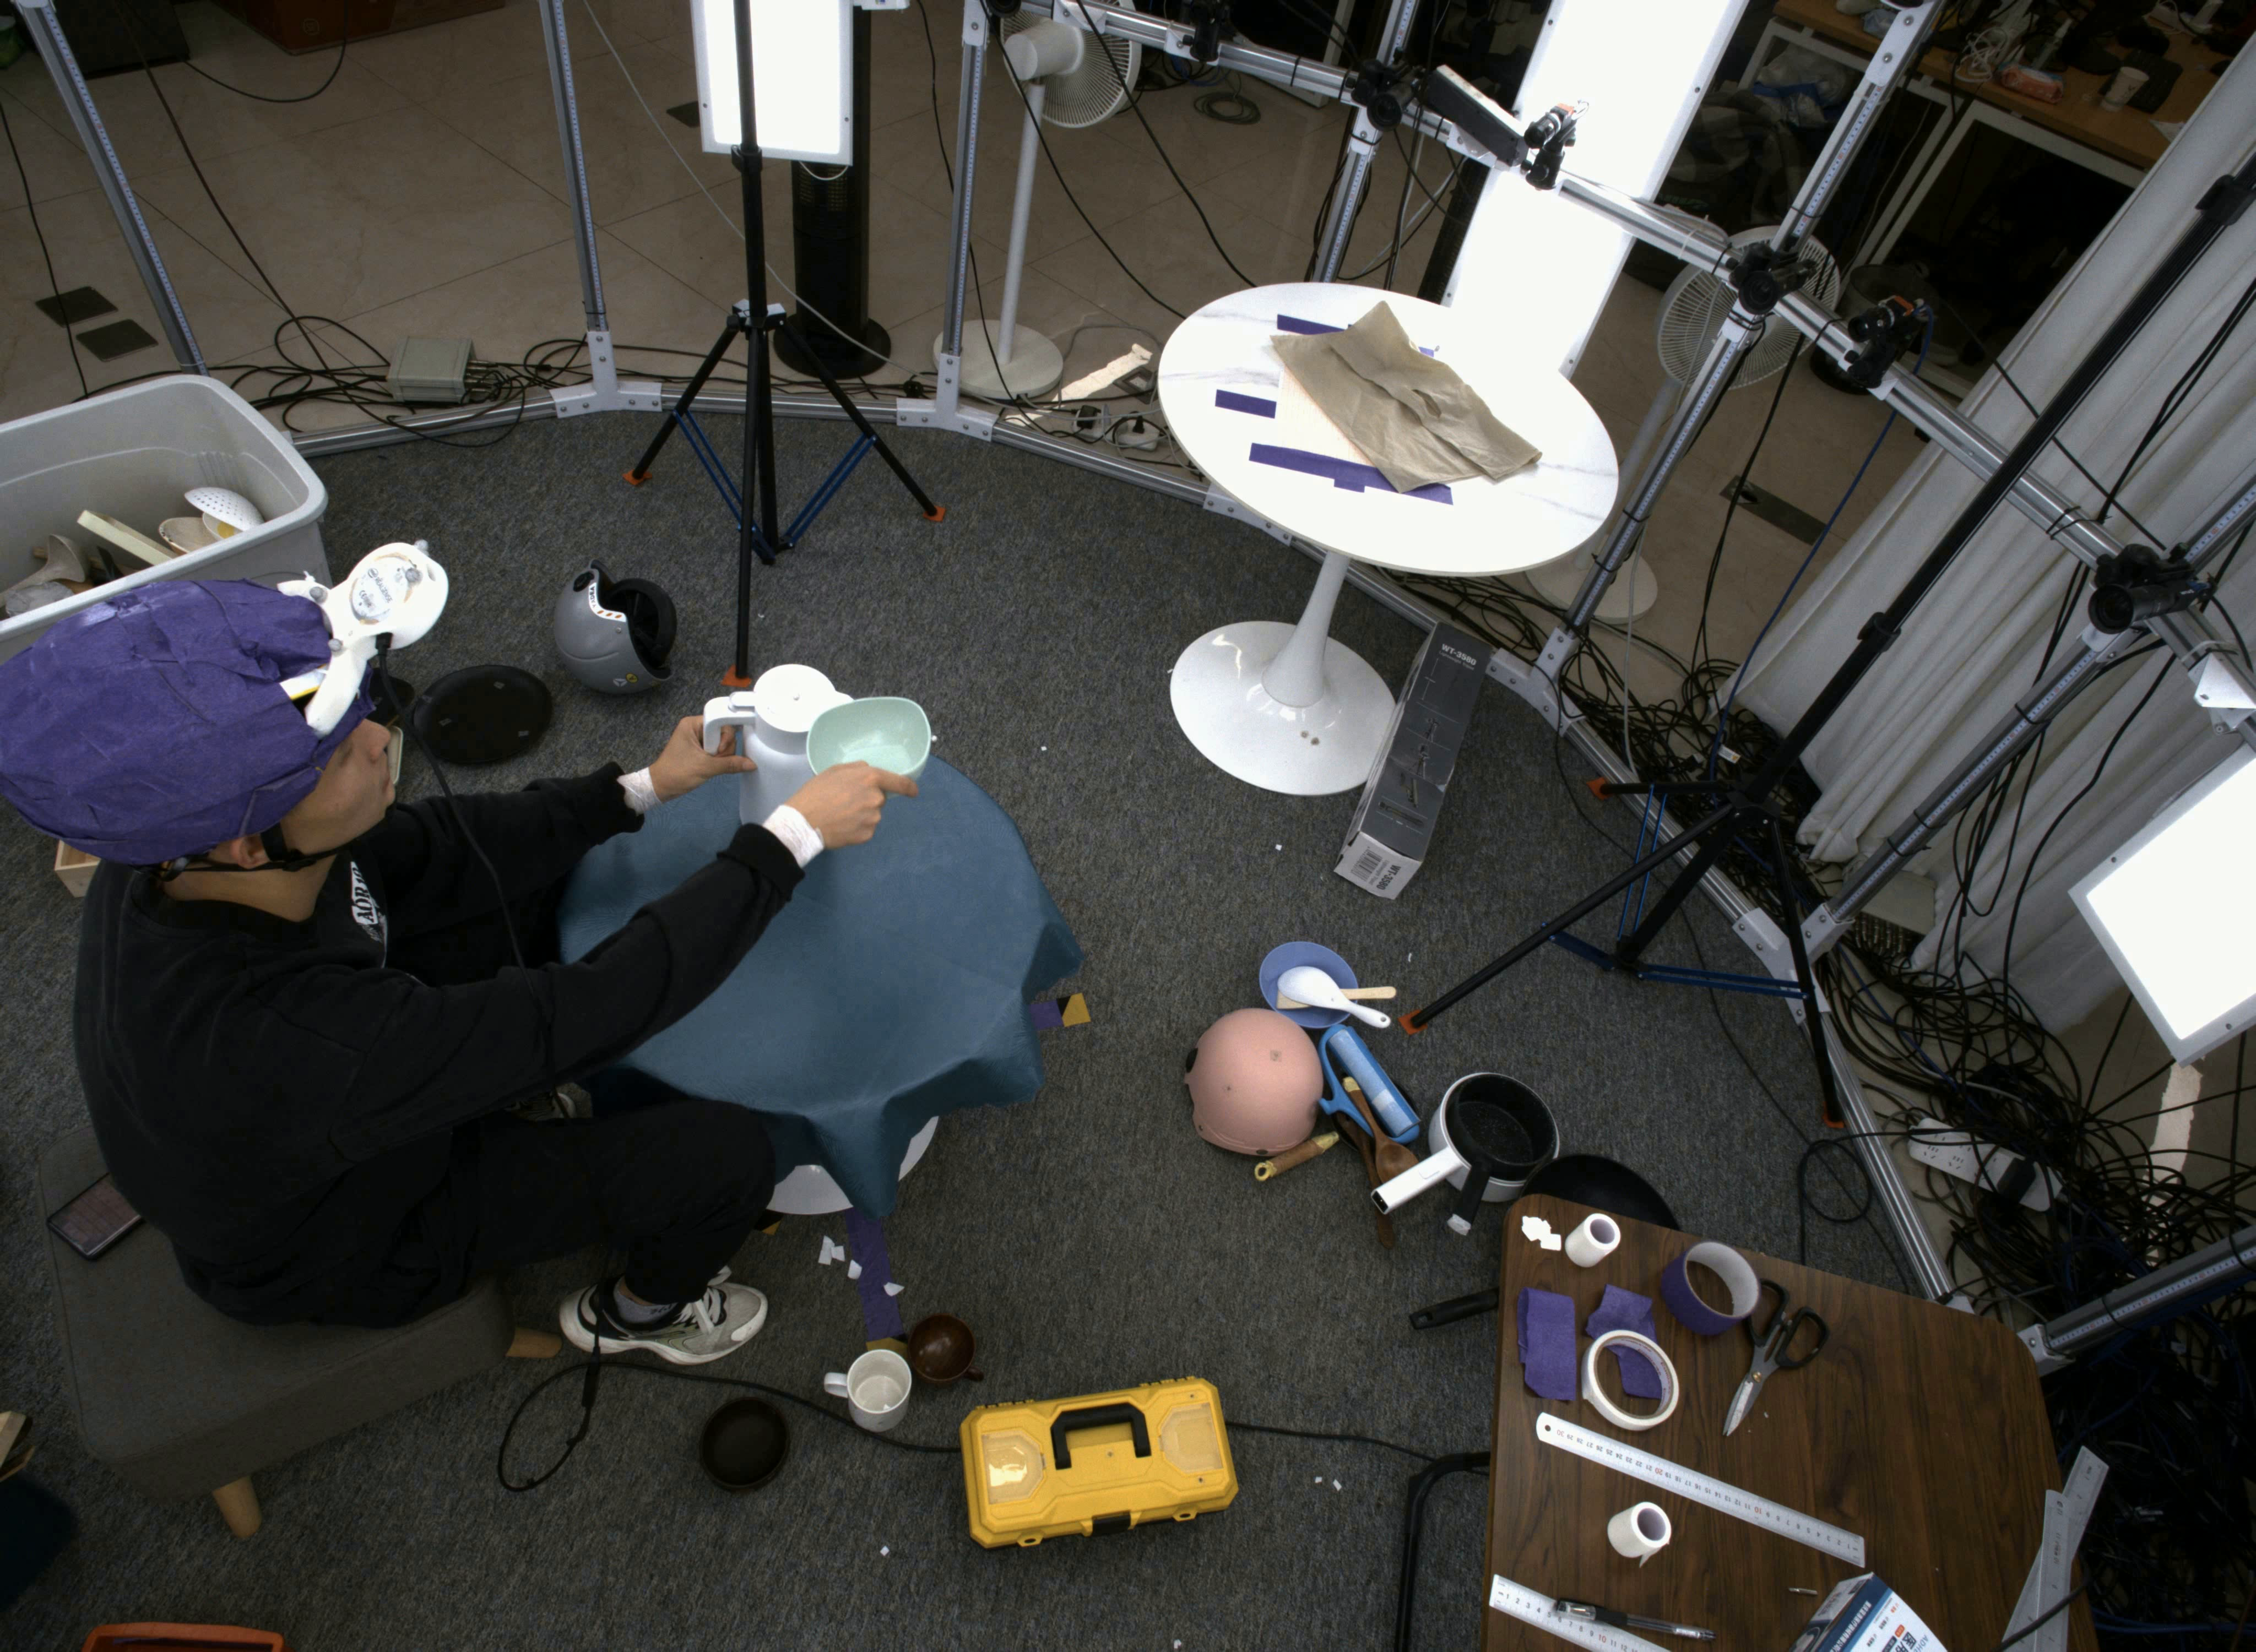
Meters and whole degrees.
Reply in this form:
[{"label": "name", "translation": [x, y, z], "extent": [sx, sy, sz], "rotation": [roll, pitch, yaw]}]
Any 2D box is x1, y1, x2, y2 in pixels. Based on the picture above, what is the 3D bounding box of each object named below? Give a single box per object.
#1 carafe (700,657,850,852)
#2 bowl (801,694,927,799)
[{"label": "carafe", "translation": [-0.439, -0.083, 1.599], "extent": [0.174, 0.272, 0.122], "rotation": [-5, 62, -20]}, {"label": "bowl", "translation": [-0.292, -0.081, 1.453], "extent": [0.150, 0.060, 0.148], "rotation": [2, 47, -1]}]
